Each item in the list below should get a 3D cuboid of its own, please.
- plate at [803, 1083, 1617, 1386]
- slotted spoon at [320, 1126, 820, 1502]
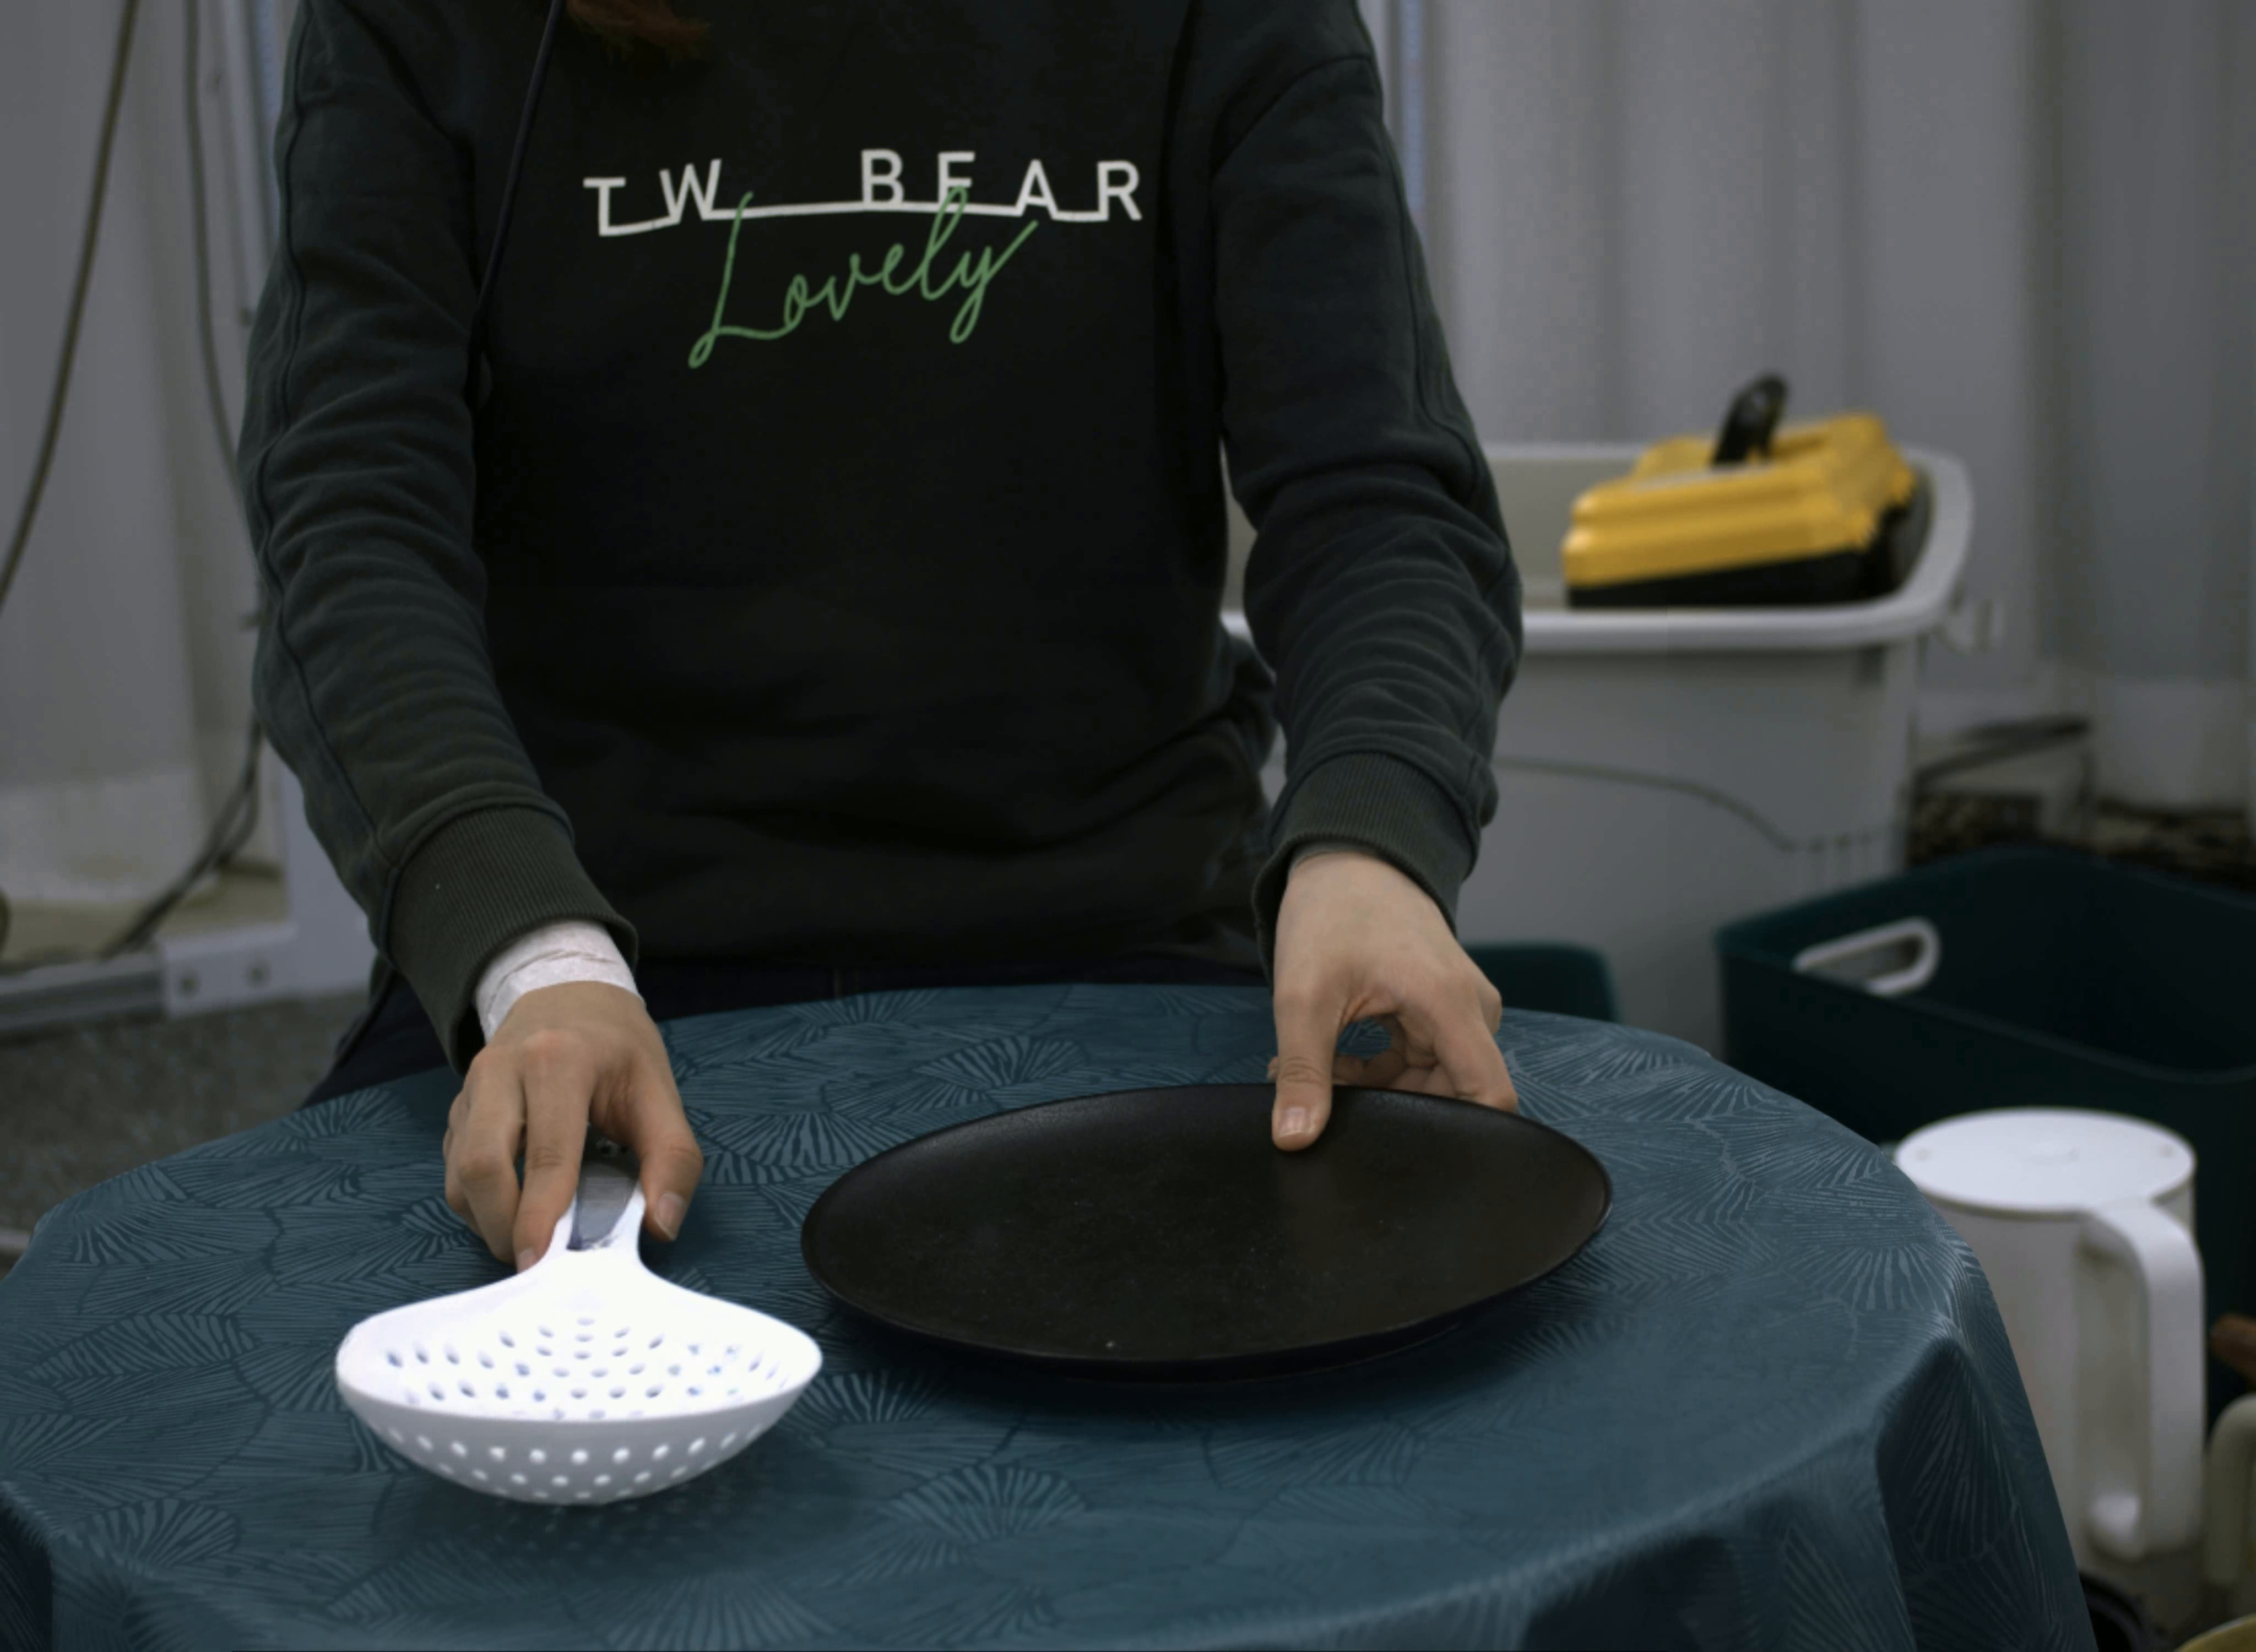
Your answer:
[{"bbox_3d":[0.024,0.124,1.626,0.243,0.023,0.246,-4,15,1],"label":"plate"},{"bbox_3d":[-0.156,0.132,1.590,0.135,0.045,0.352,3,14,-3],"label":"slotted spoon"}]
